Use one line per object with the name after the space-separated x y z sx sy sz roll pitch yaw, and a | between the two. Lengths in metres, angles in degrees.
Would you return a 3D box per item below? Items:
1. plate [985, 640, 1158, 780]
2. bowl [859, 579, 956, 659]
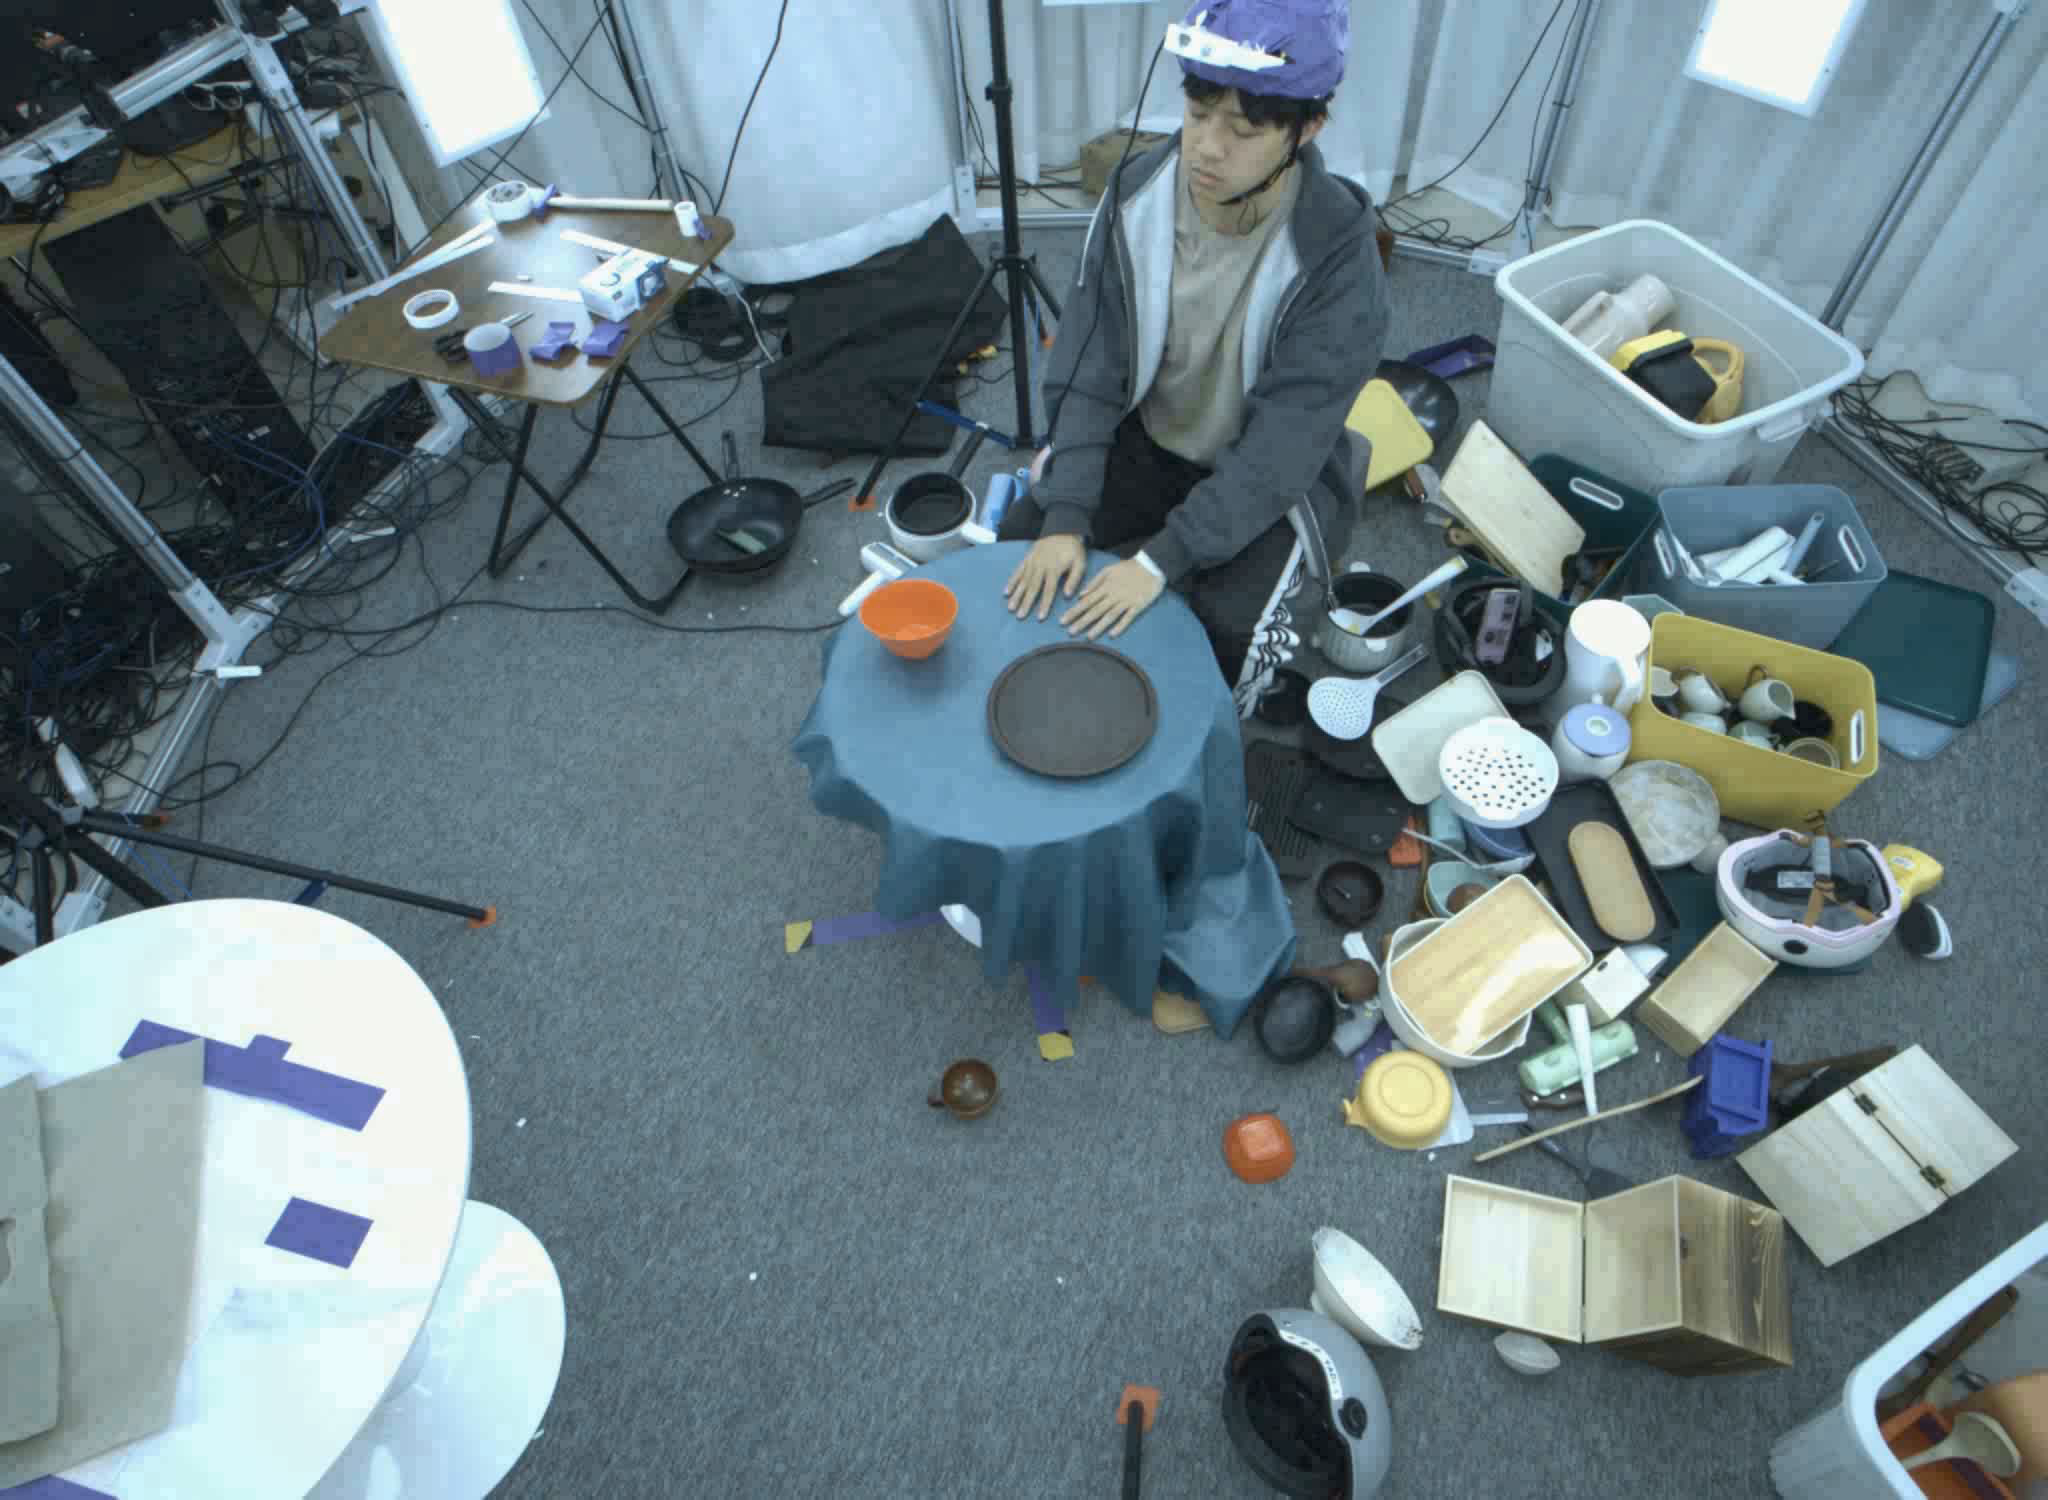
0.070 -0.060 1.816 0.254 0.029 0.252 -1 54 3 | plate
-0.171 -0.187 1.866 0.147 0.106 0.146 -2 55 4 | bowl
